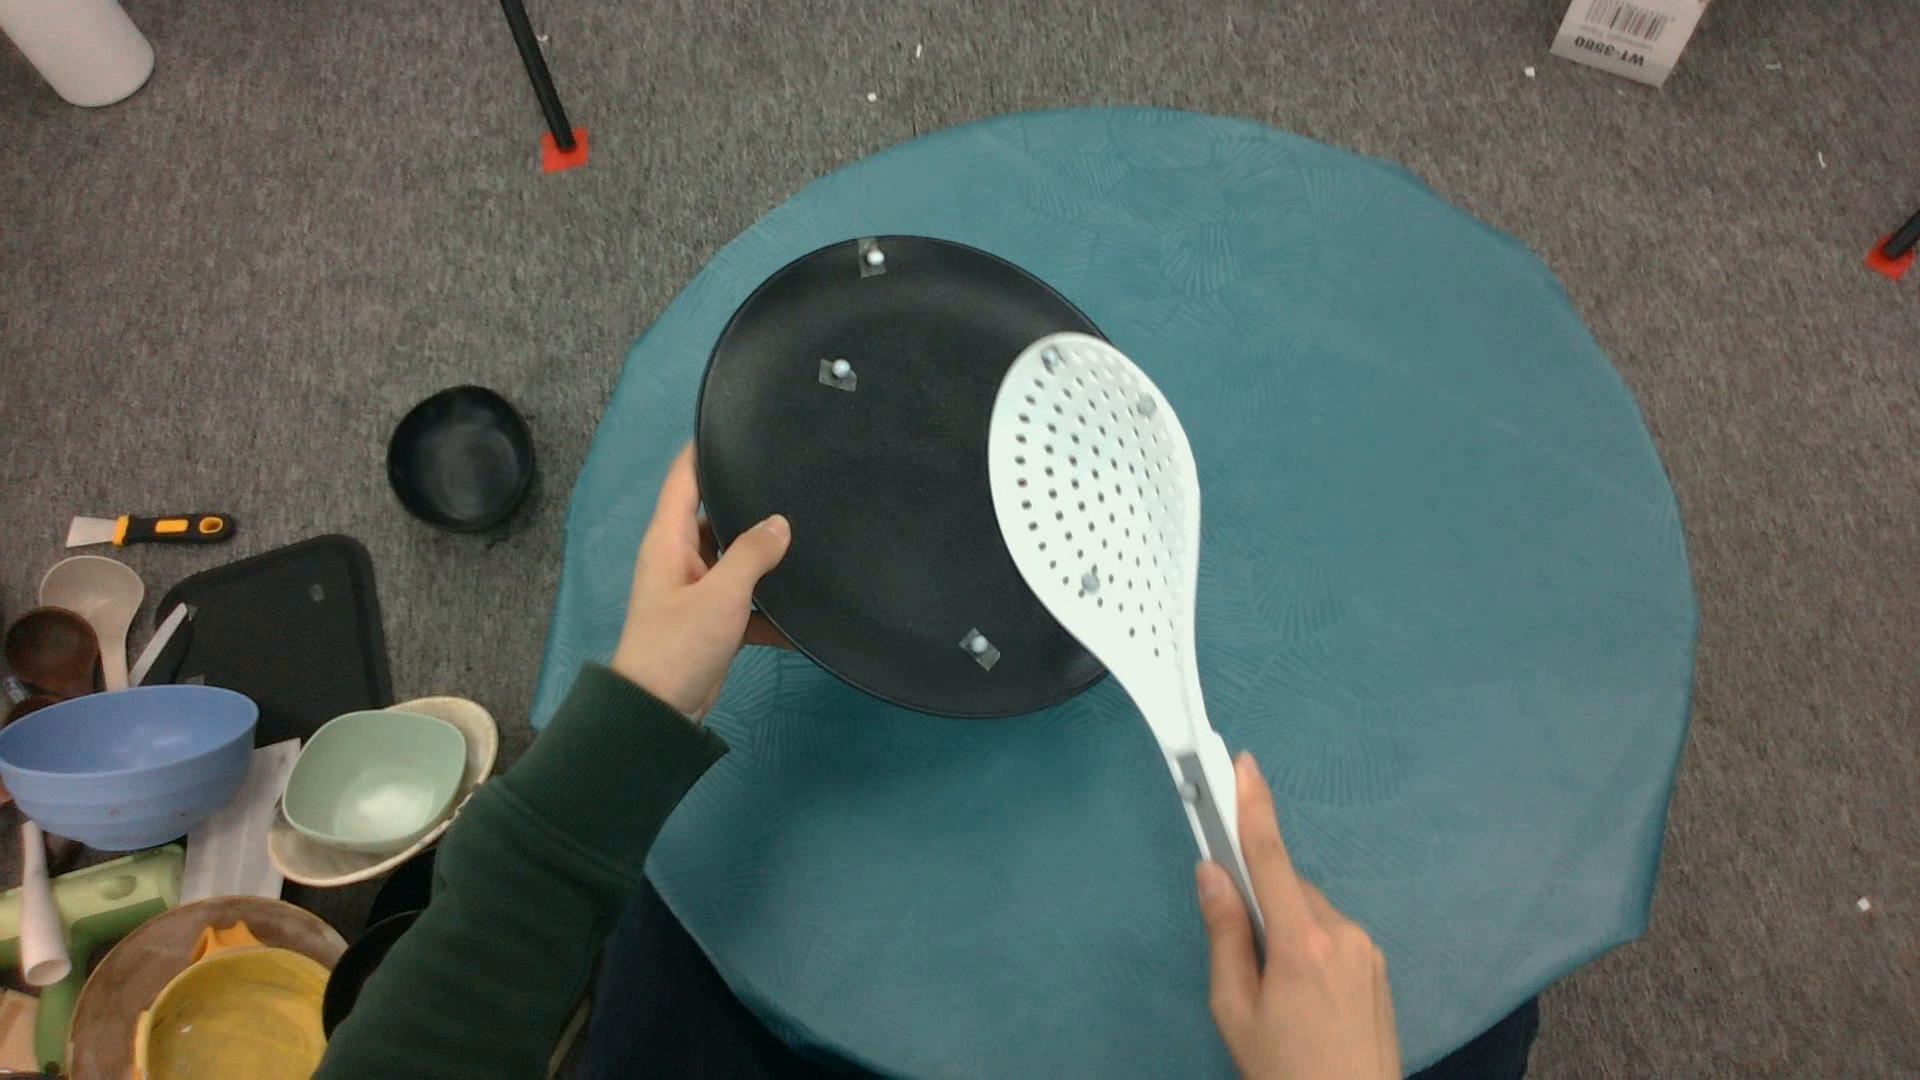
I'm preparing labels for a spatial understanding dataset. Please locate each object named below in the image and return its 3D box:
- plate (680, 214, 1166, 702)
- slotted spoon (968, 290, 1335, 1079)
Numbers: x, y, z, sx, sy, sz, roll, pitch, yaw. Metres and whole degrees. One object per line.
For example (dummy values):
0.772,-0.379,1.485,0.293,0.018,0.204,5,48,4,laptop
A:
-0.013,-0.041,0.646,0.245,0.023,0.245,9,67,-23,plate
0.084,0.059,0.583,0.046,0.135,0.350,-10,78,-30,slotted spoon
